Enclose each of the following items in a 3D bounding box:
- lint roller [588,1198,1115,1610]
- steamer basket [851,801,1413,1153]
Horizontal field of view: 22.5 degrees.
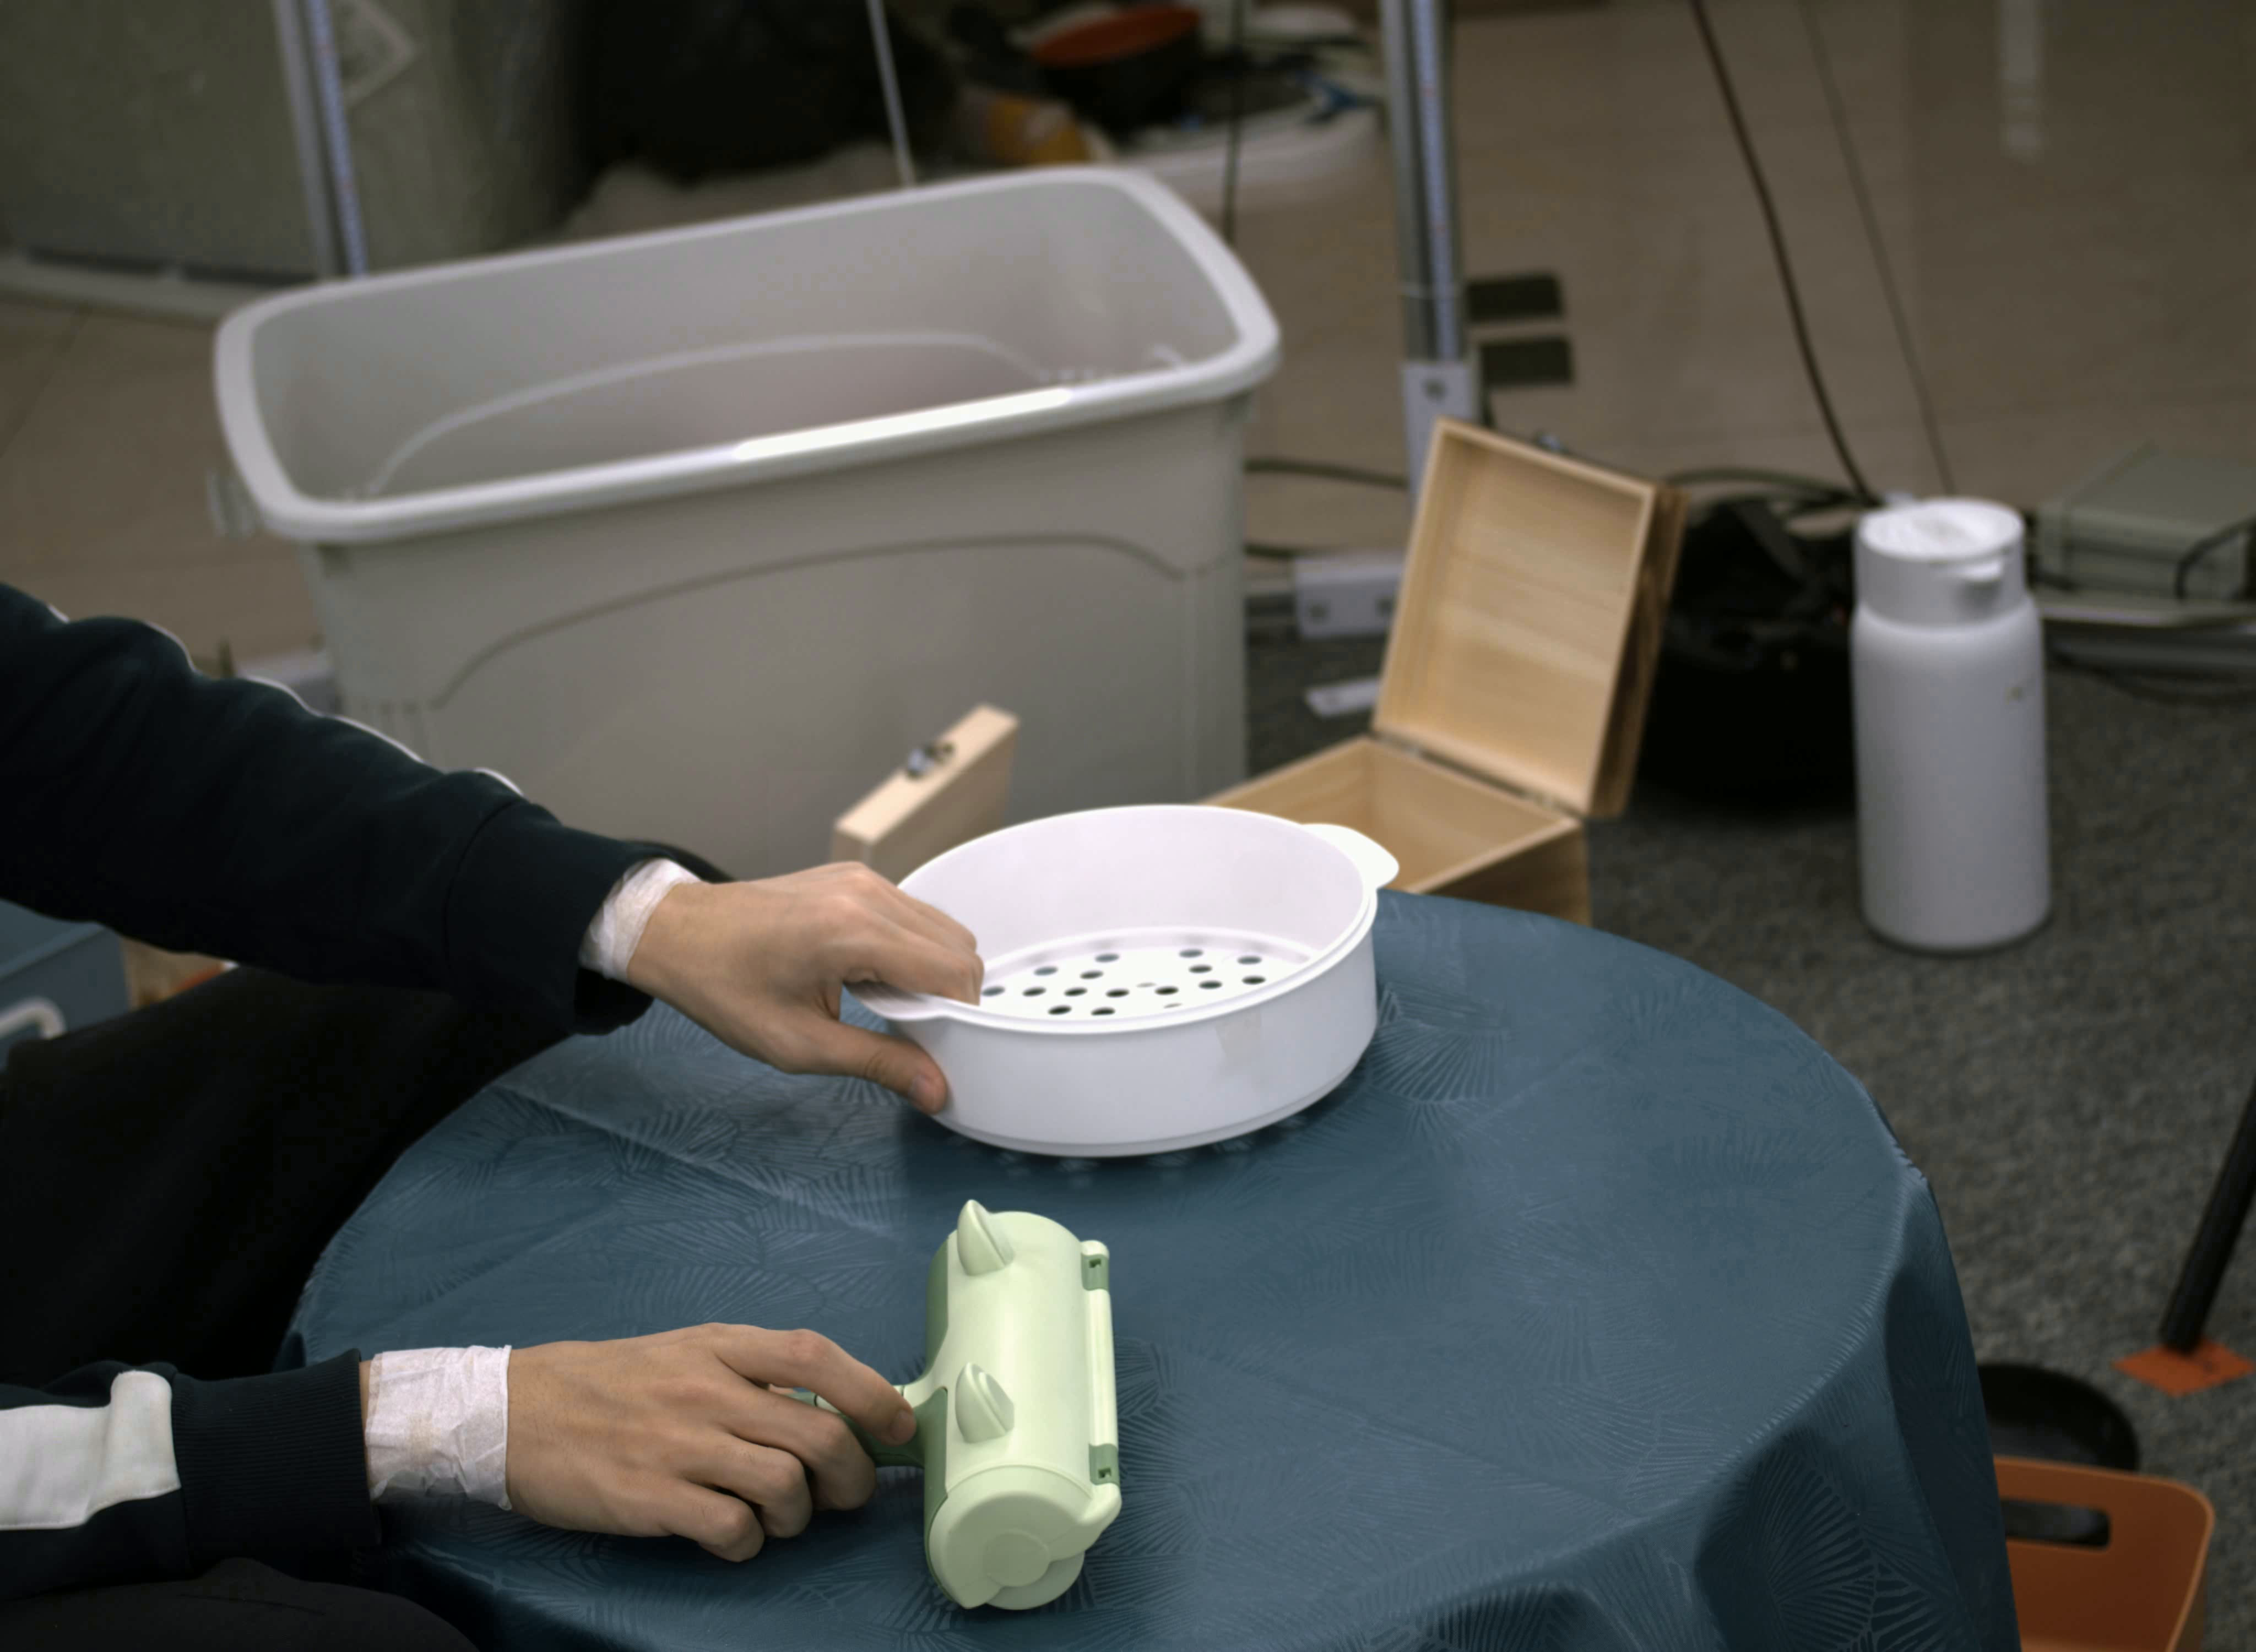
[{"bbox_3d":[-0.097,0.194,1.956,0.183,0.083,0.195,-2,25,0],"label":"lint roller"},{"bbox_3d":[0.005,0.060,2.229,0.229,0.070,0.199,-15,27,-22],"label":"steamer basket"}]
